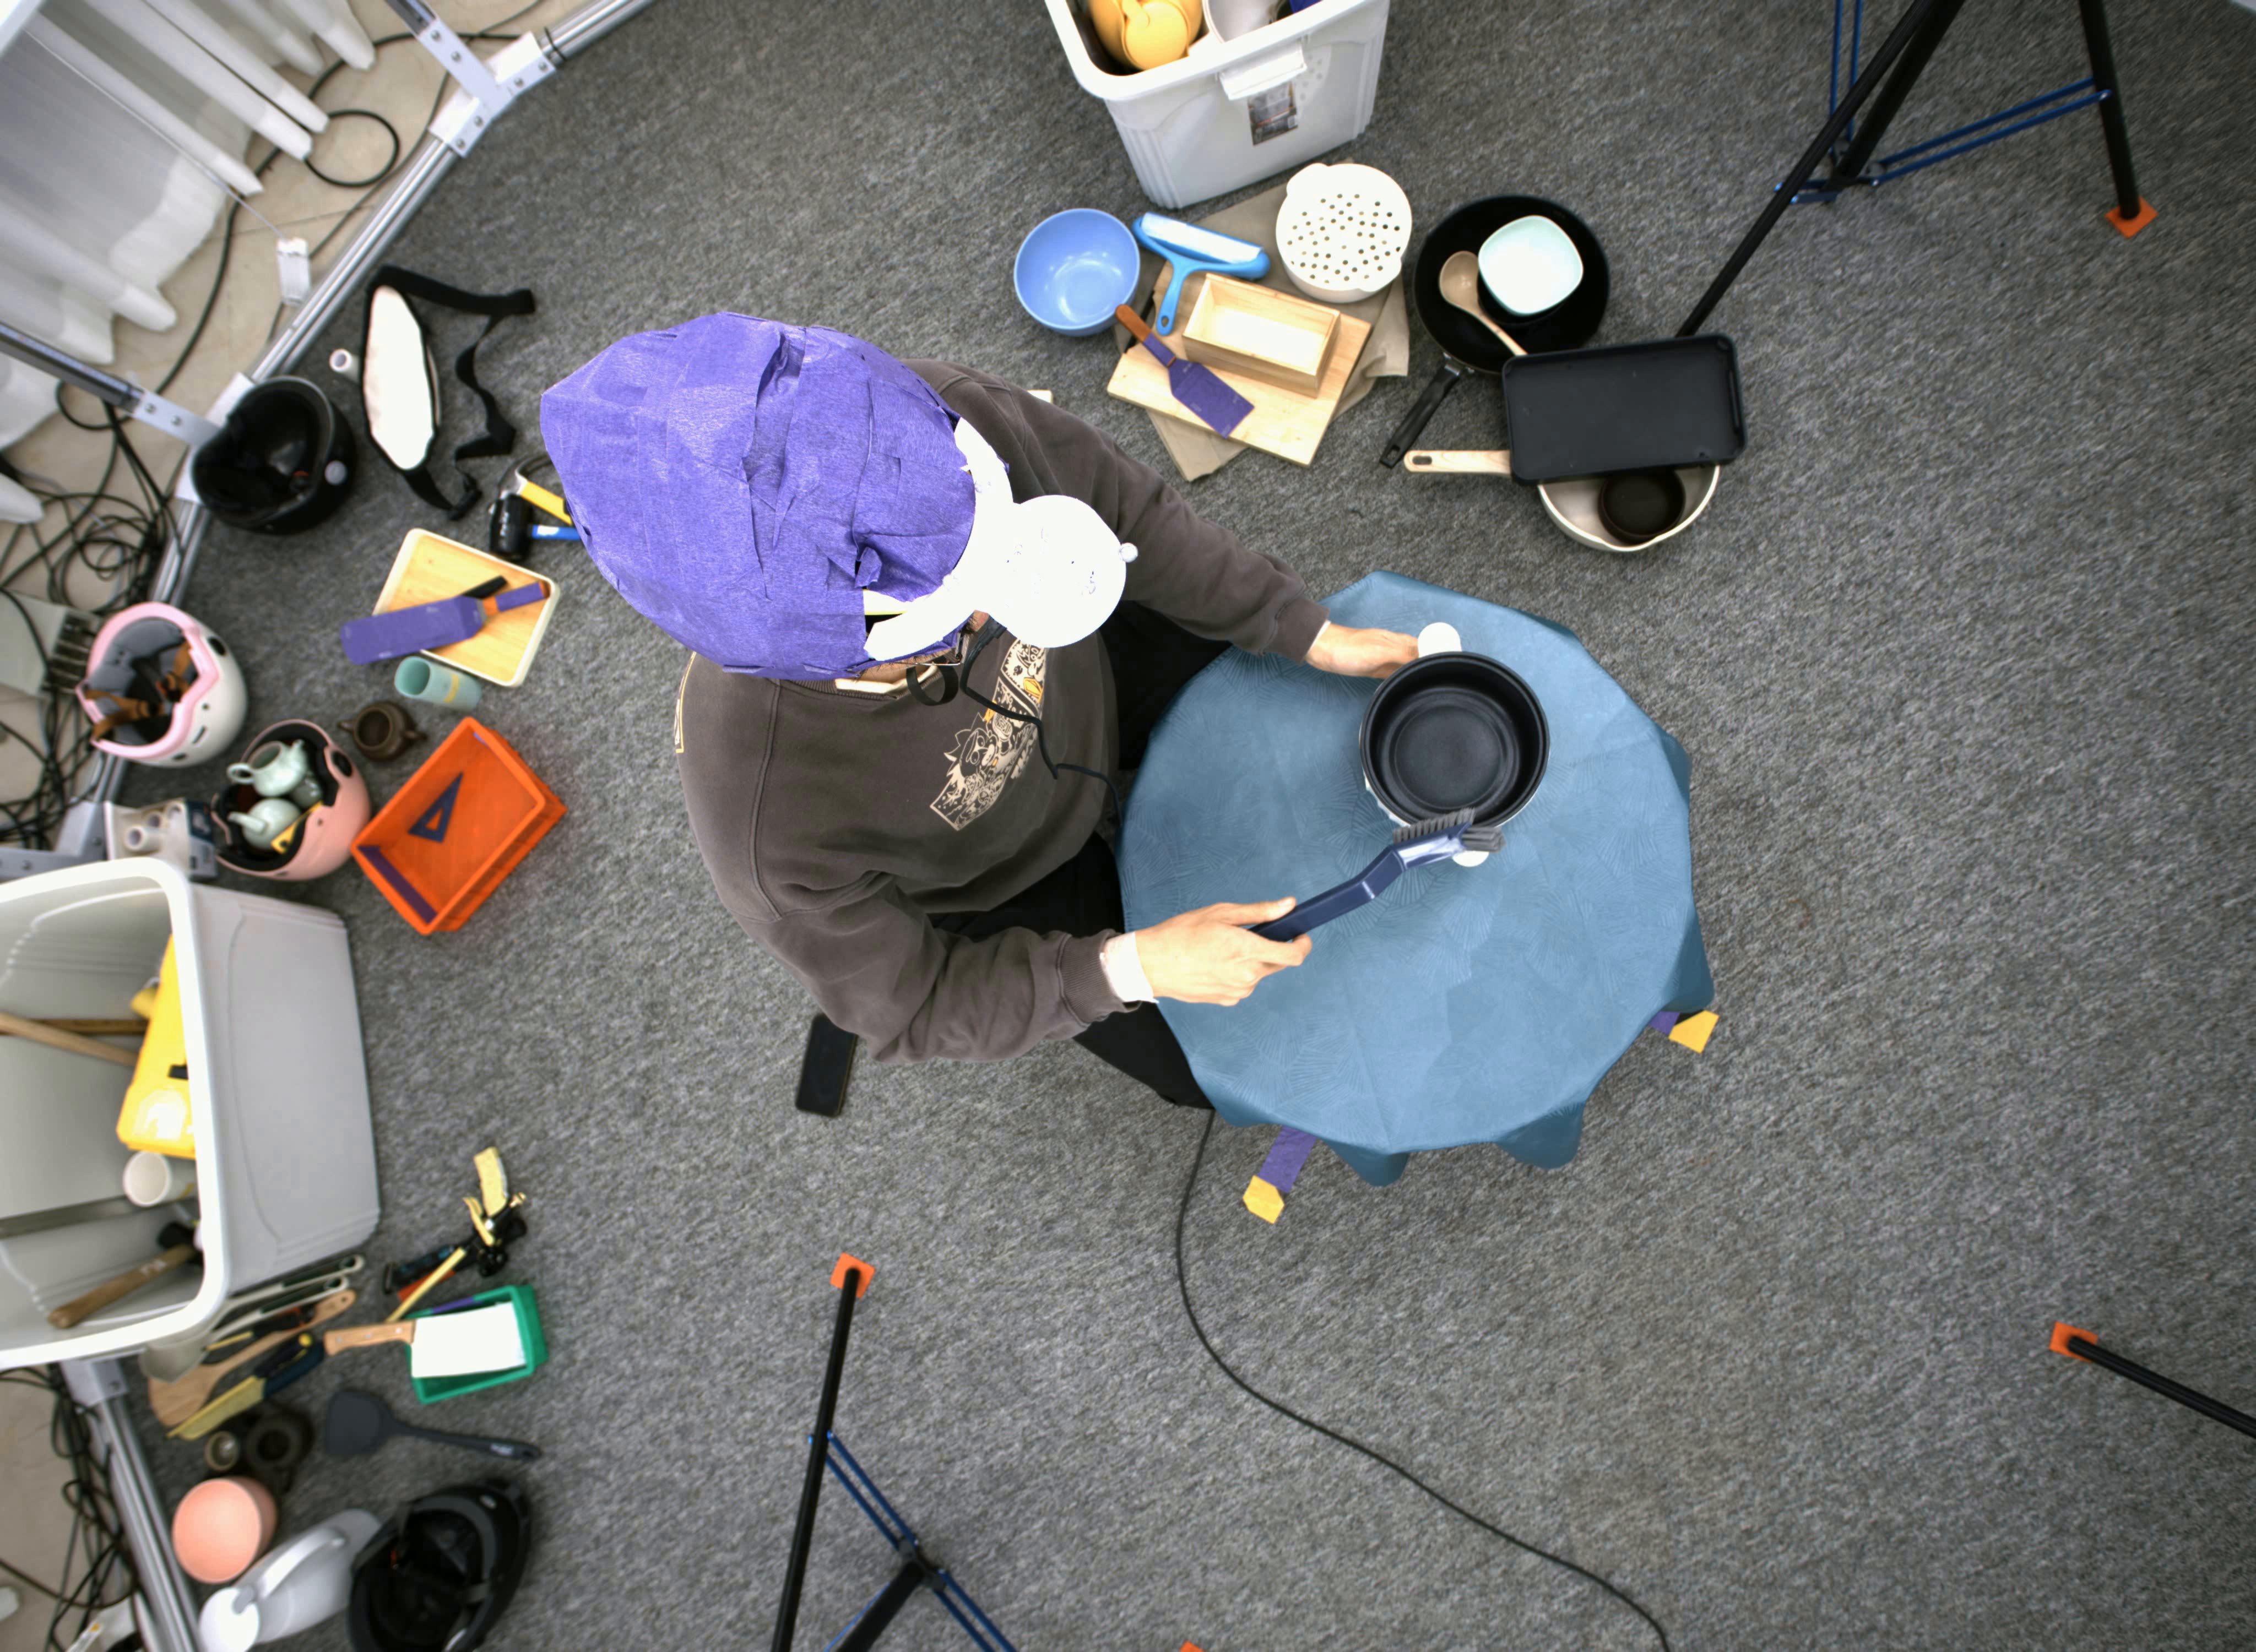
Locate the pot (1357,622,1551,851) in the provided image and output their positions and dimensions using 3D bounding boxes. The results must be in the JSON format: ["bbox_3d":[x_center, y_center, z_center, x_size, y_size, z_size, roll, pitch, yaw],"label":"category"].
[{"bbox_3d":[0.329,-0.080,1.383,0.192,0.142,0.239,-9,87,14],"label":"pot"}]

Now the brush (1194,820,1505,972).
[{"bbox_3d":[0.189,0.067,1.209,0.274,0.094,0.034,-31,123,6],"label":"brush"}]
